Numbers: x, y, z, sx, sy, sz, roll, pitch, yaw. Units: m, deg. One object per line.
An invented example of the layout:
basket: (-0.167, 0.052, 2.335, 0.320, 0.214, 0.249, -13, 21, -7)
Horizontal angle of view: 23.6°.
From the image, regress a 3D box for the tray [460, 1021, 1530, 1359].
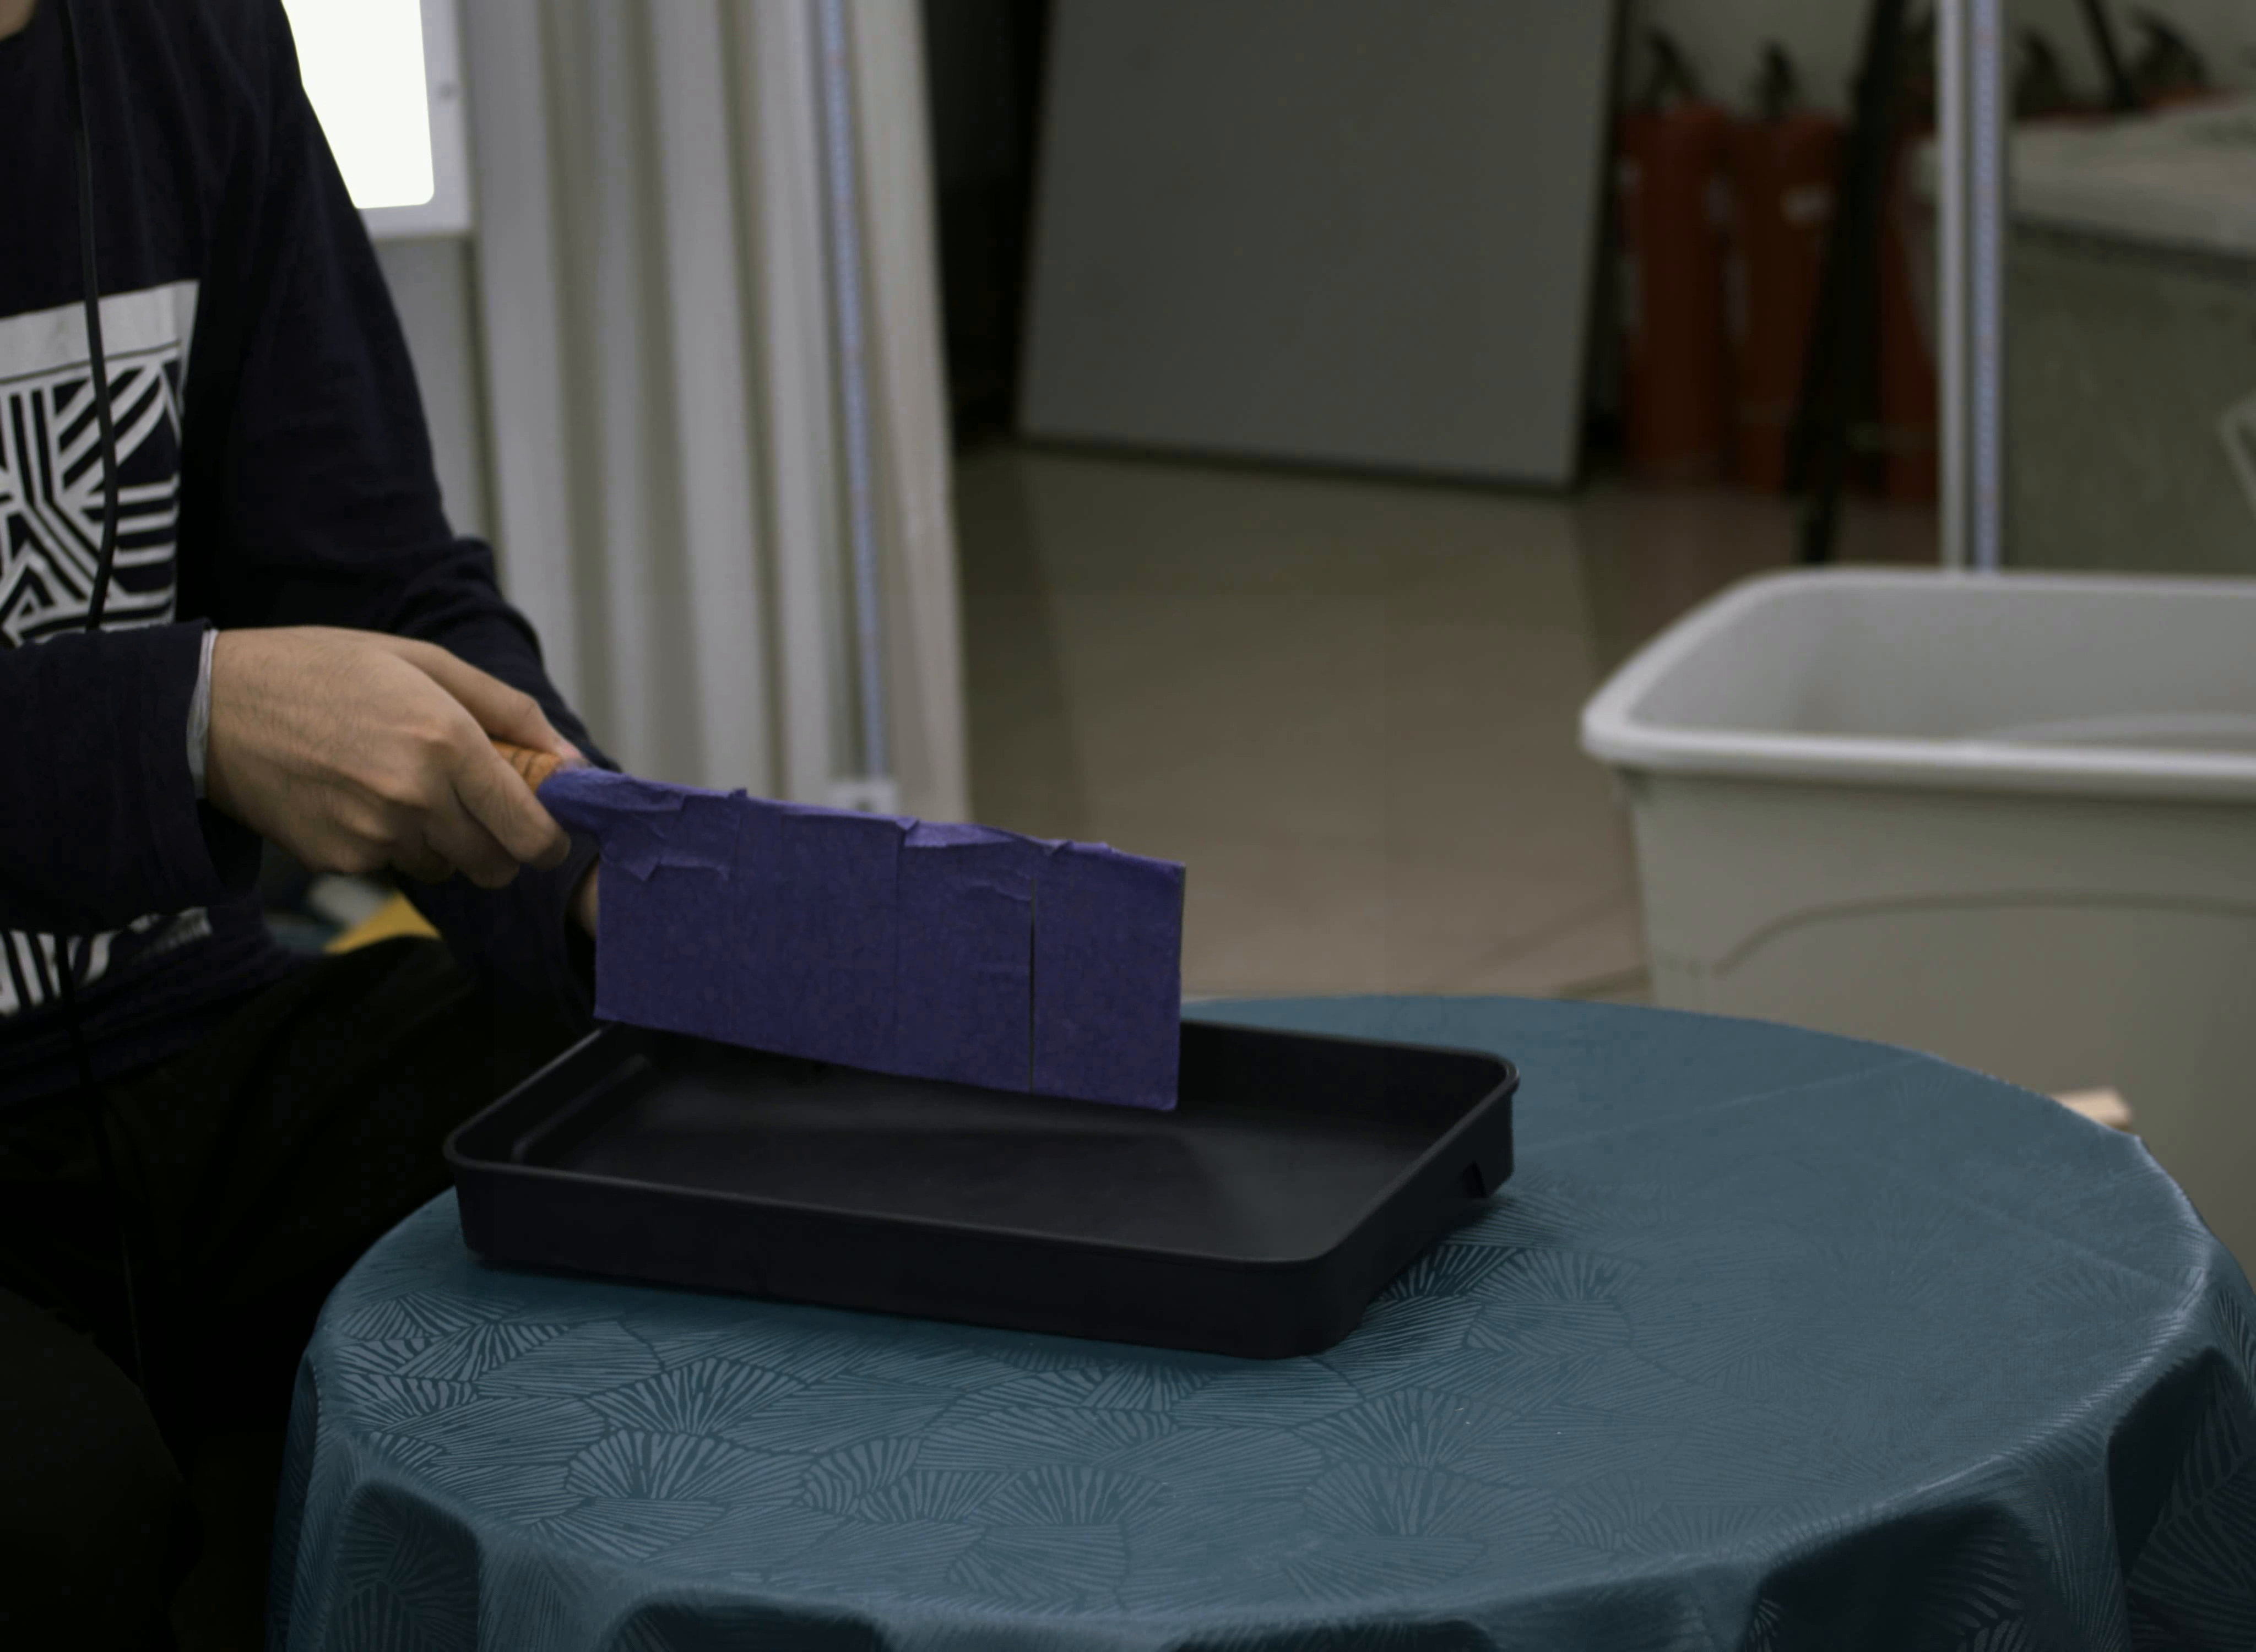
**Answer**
tray: (-0.041, 0.108, 1.736, 0.318, 0.037, 0.182, 3, 20, 27)

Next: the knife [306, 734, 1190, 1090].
knife: (-0.129, 0.031, 1.802, 0.315, 0.105, 0.032, 8, 17, 19)
